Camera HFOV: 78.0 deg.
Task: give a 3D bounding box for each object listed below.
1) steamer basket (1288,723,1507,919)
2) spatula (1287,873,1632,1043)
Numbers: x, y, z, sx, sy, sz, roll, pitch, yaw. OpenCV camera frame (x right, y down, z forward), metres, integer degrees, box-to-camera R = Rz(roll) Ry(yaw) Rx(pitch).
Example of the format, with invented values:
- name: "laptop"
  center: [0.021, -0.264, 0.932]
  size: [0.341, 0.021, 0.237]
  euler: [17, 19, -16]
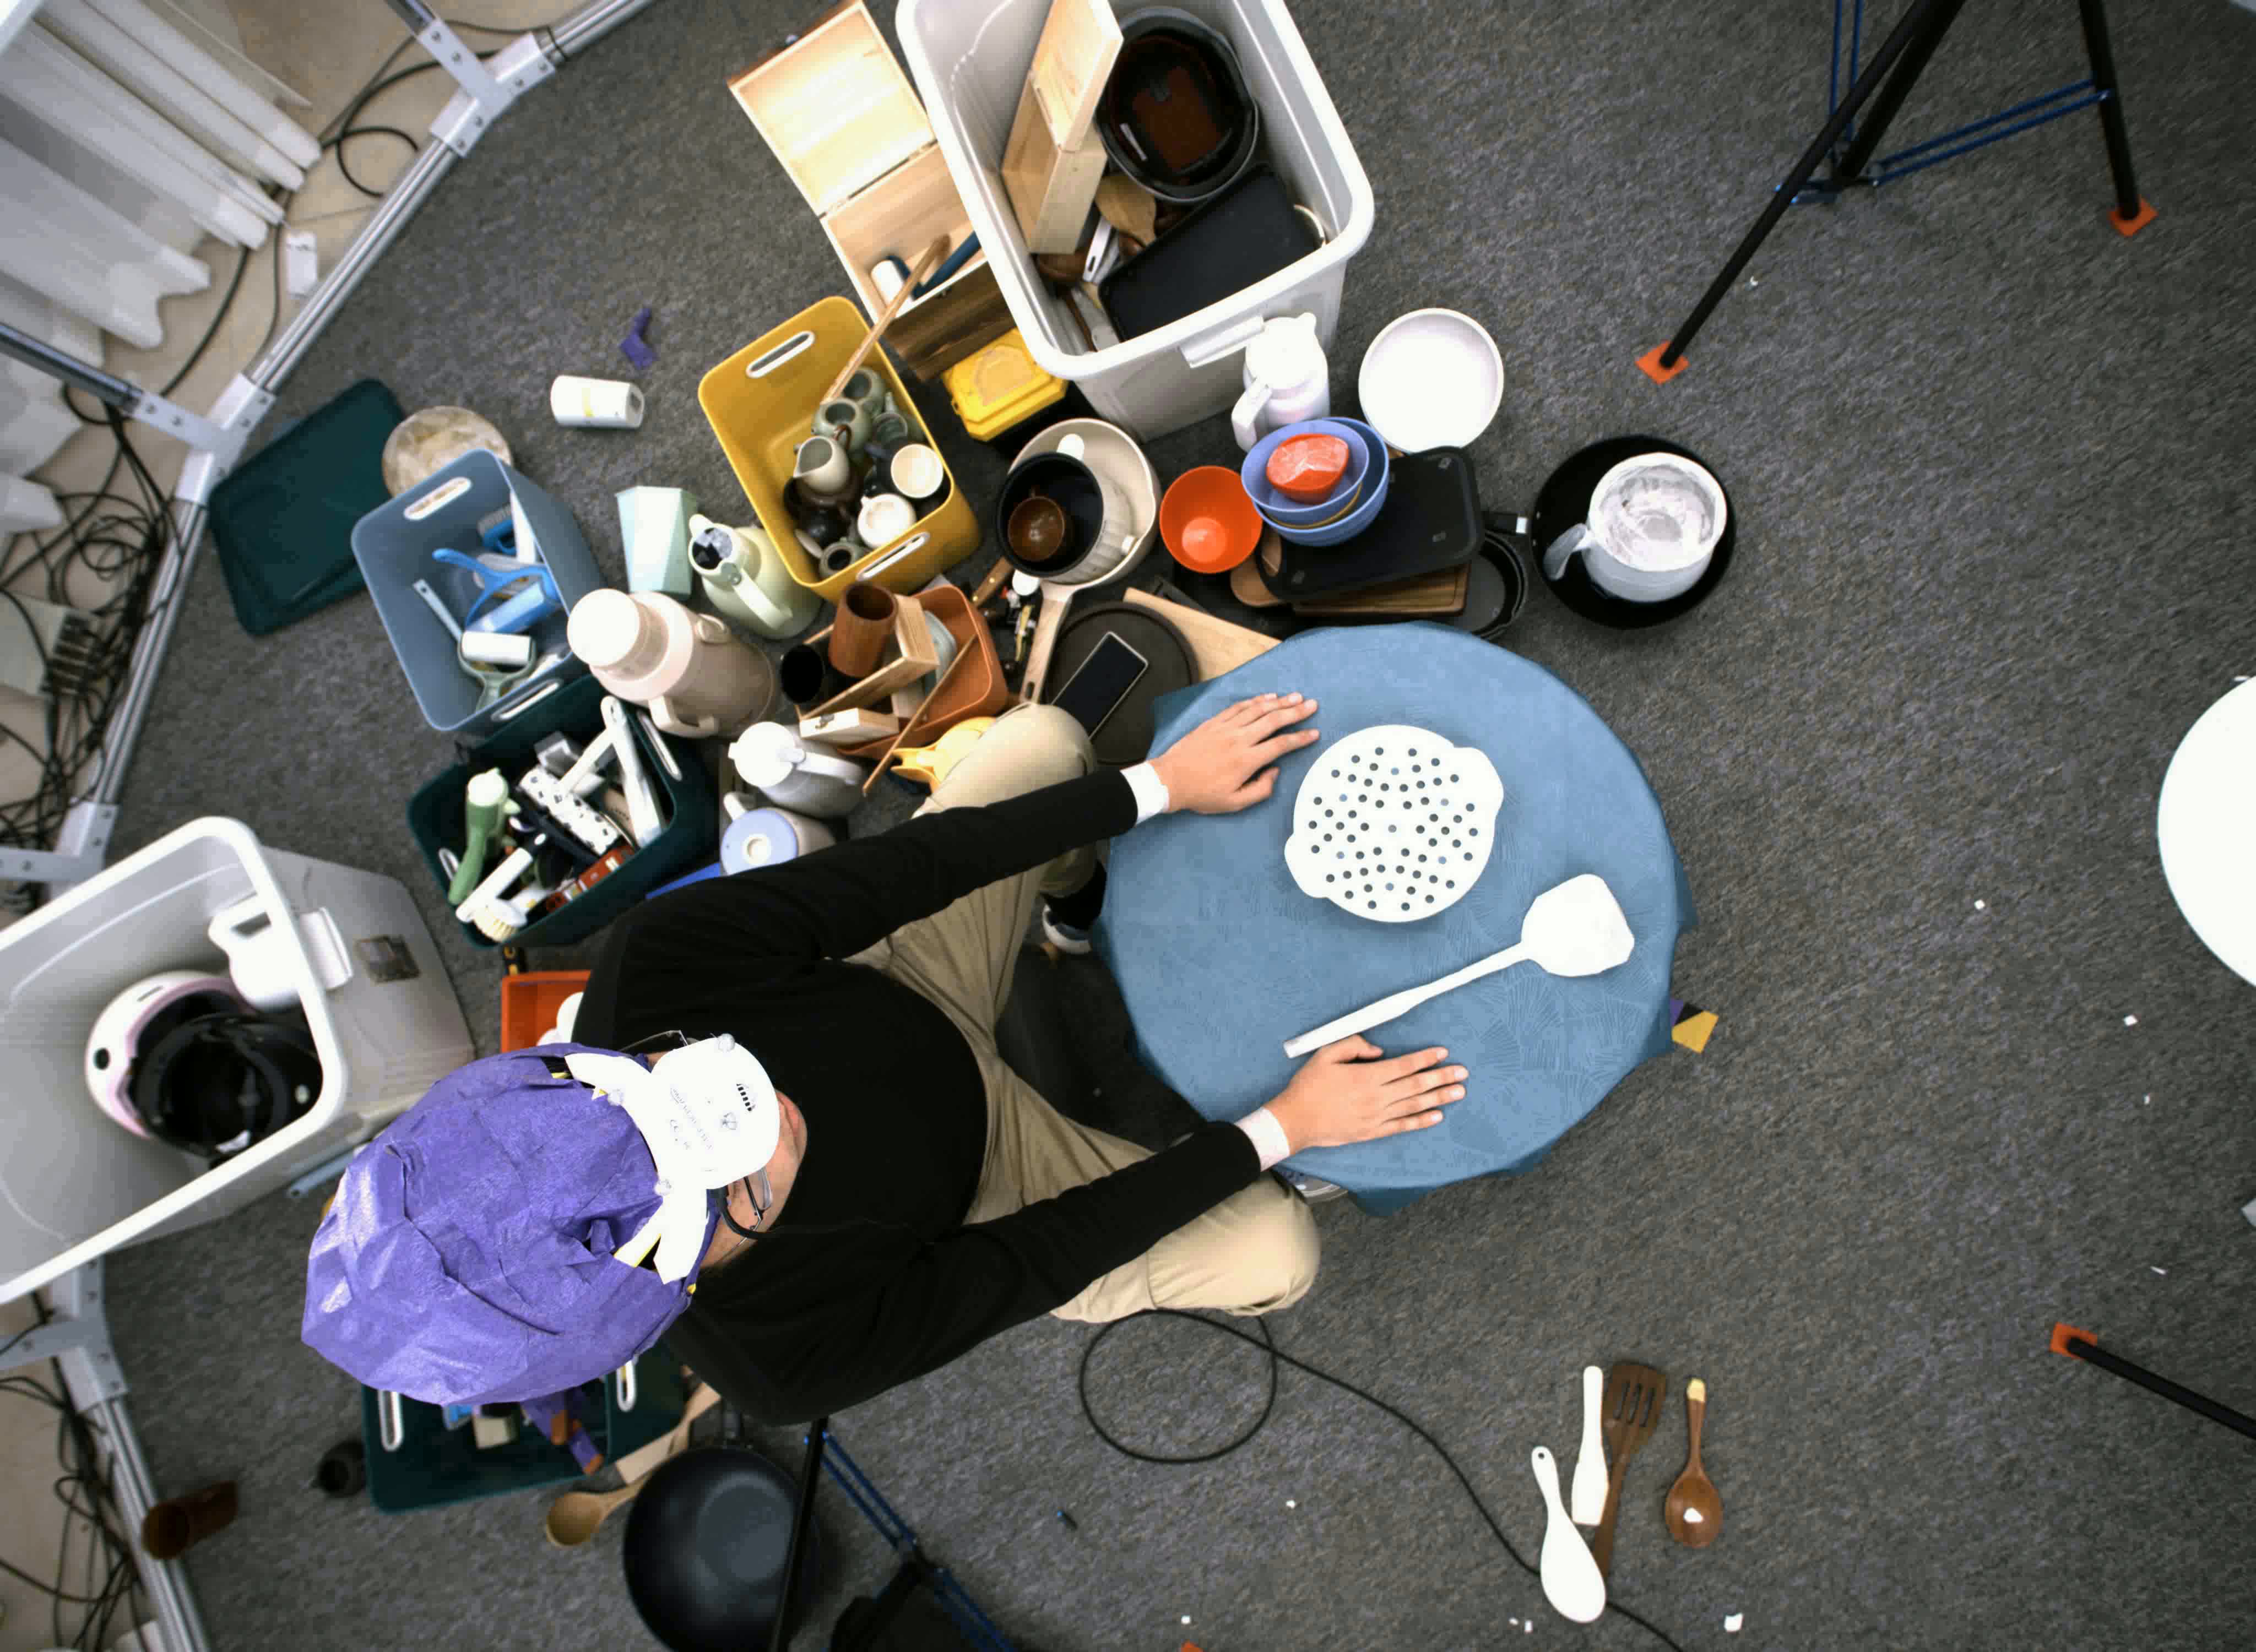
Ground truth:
- name: "steamer basket"
  center: [0.279, -0.004, 1.427]
  size: [0.232, 0.069, 0.200]
  euler: [-27, 81, 9]
- name: "spatula"
  center: [0.336, 0.154, 1.424]
  size: [0.367, 0.045, 0.098]
  euler: [-24, 85, 8]
